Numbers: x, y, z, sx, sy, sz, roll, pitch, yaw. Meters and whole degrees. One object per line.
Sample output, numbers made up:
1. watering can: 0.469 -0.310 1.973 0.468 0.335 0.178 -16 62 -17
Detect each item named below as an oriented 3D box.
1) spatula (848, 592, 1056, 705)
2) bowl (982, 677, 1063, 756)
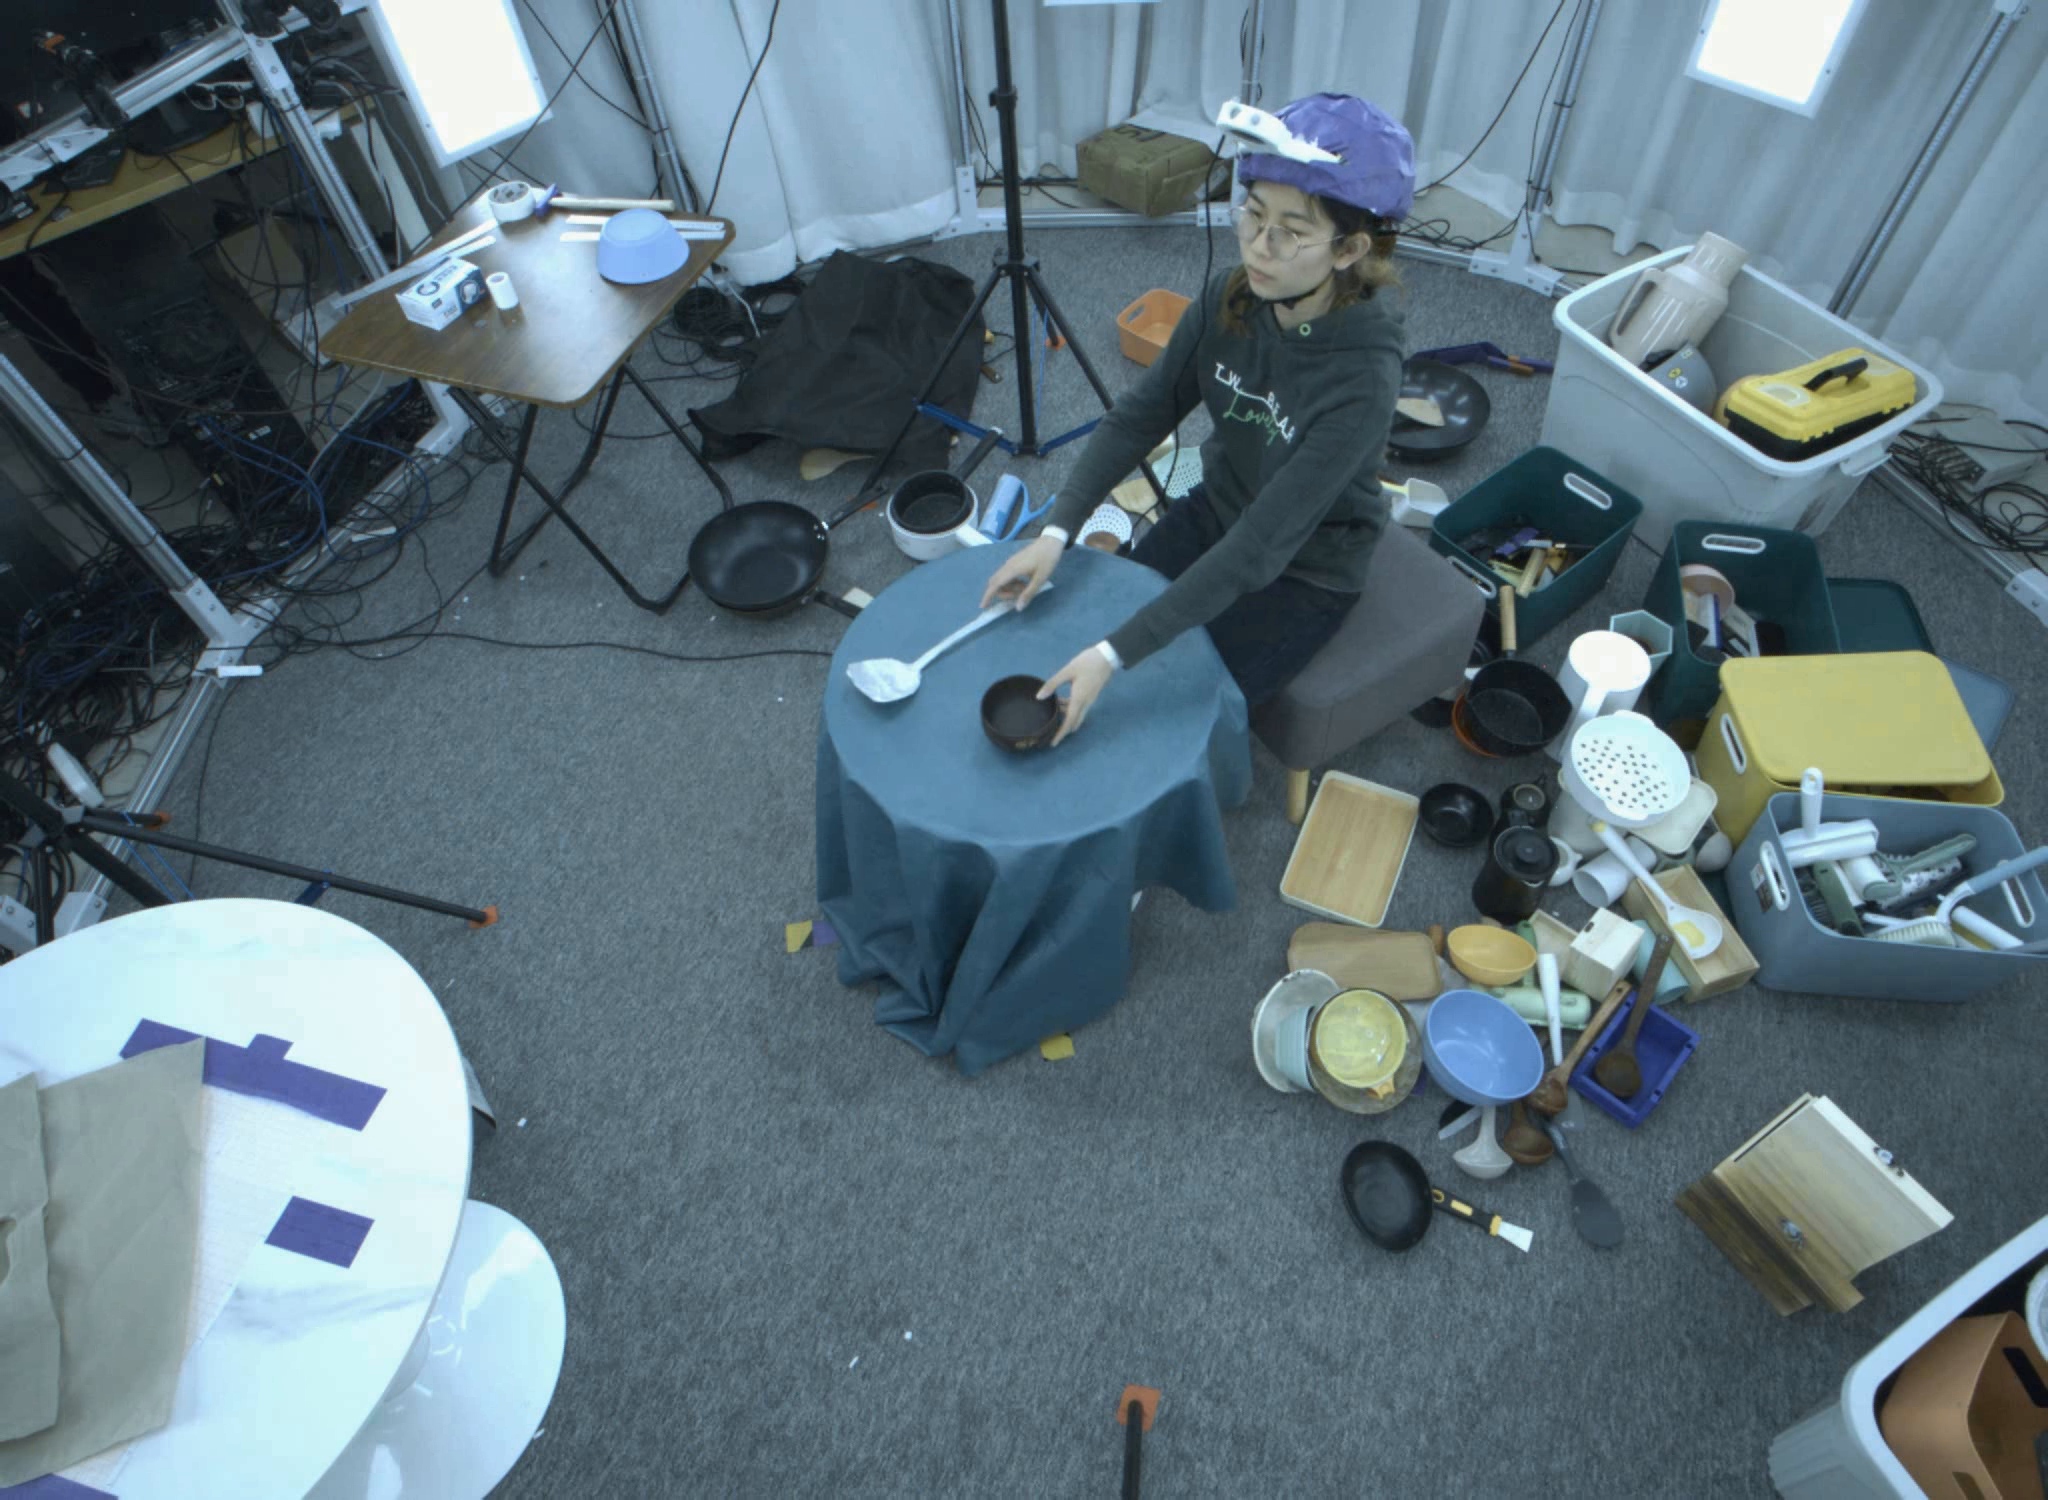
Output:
1. spatula: -0.102 -0.171 1.897 0.368 0.045 0.097 -34 58 -20
2. bowl: -0.002 -0.041 1.783 0.118 0.070 0.117 1 56 0
